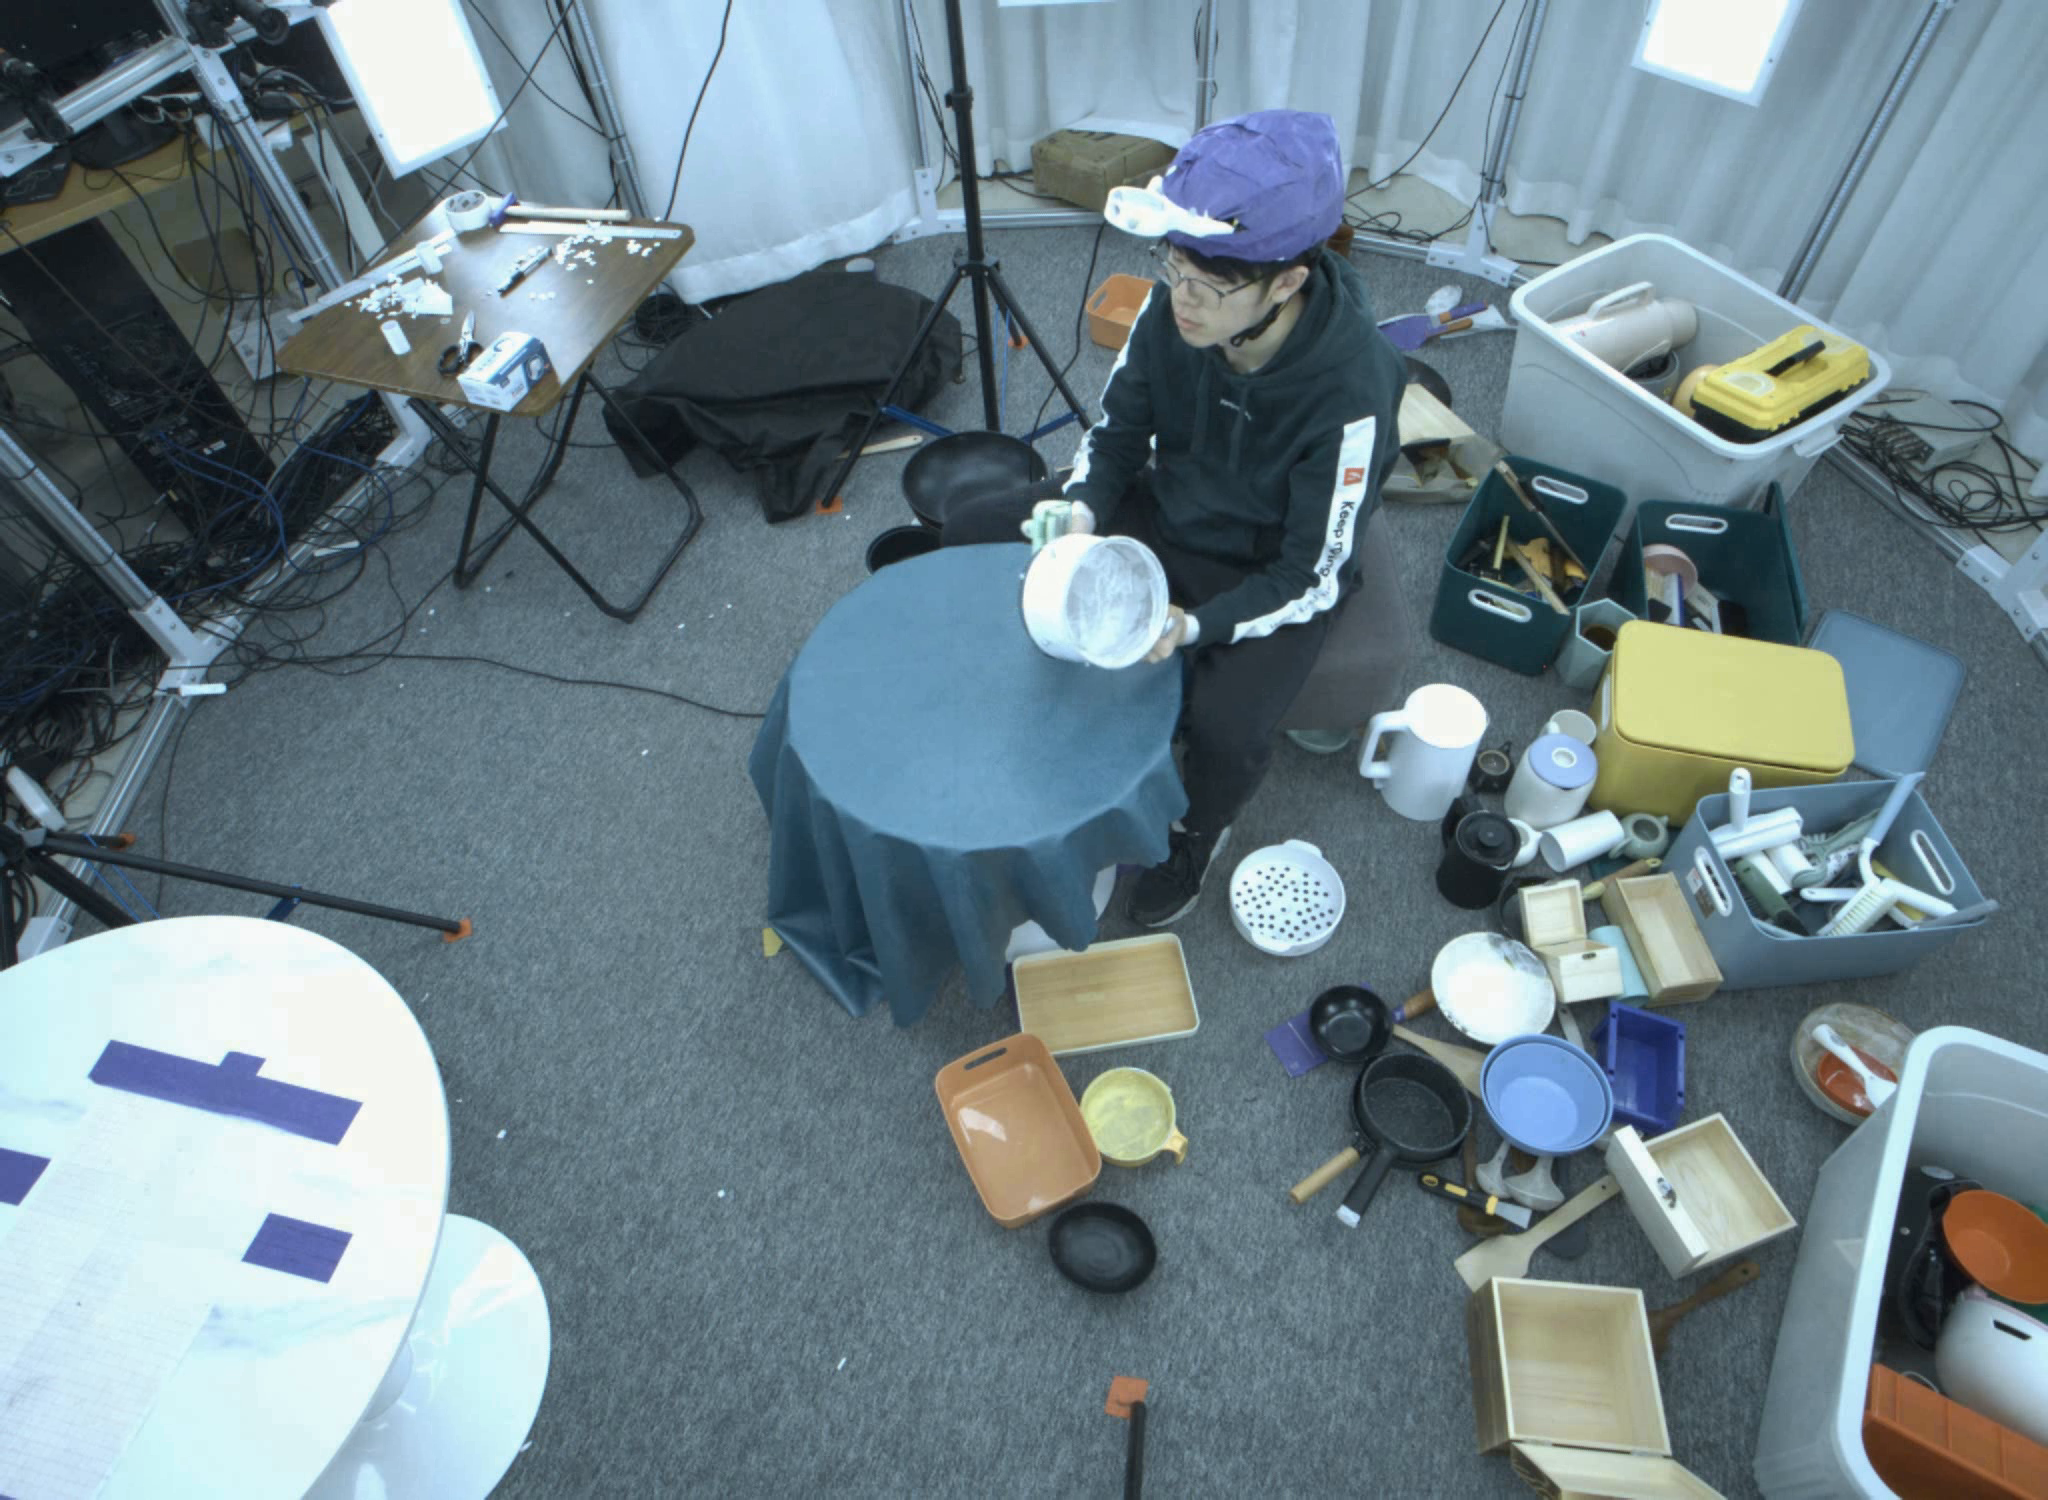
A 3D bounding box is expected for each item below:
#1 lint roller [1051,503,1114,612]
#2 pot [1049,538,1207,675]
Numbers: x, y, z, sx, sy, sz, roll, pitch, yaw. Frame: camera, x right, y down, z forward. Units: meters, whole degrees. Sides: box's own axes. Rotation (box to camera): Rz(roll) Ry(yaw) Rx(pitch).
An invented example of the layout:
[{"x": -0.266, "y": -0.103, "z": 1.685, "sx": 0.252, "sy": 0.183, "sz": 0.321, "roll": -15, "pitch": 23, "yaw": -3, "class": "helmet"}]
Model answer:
[{"x": 0.088, "y": -0.275, "z": 1.801, "sx": 0.081, "sy": 0.200, "sz": 0.183, "roll": 6, "pitch": 26, "yaw": 12, "class": "lint roller"}, {"x": 0.154, "y": -0.191, "z": 1.694, "sx": 0.133, "sy": 0.239, "sz": 0.178, "roll": 20, "pitch": 92, "yaw": 55, "class": "pot"}]
